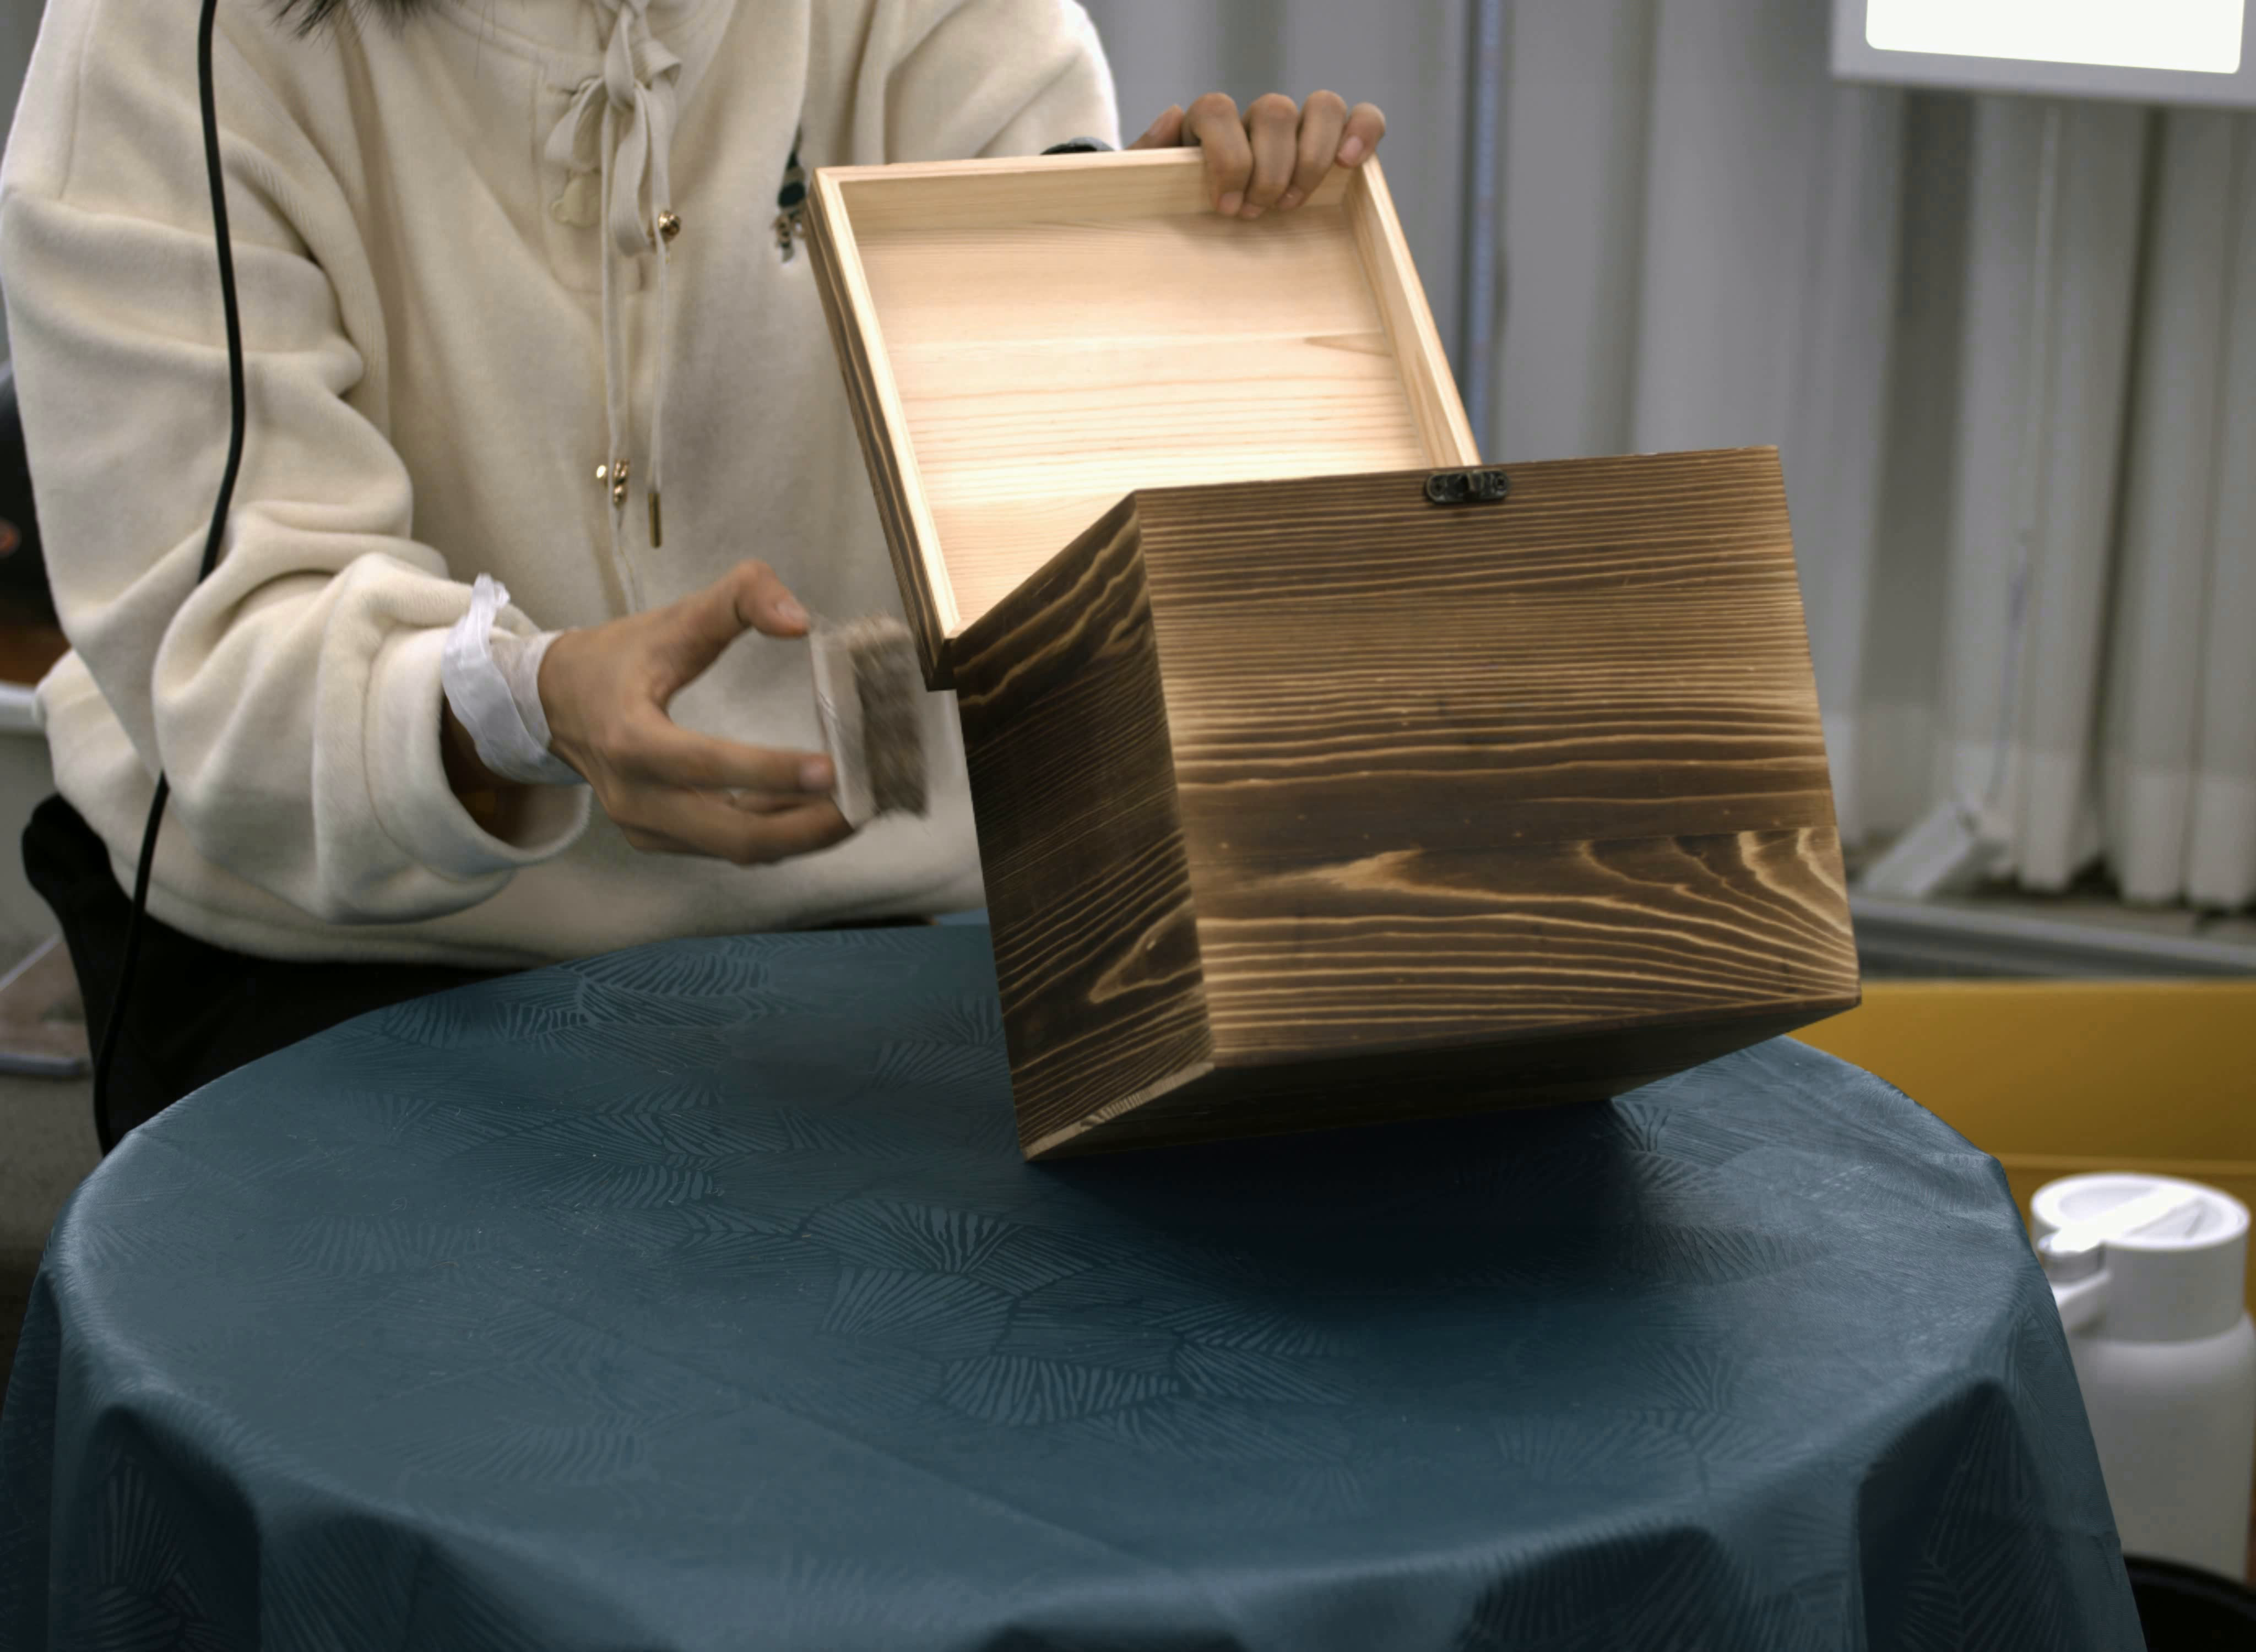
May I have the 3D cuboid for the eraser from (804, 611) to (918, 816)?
[{"bbox_3d":[-0.083,-0.037,1.643,0.029,0.057,0.139,-8,5,-3],"label":"eraser"}]

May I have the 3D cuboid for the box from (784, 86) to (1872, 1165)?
[{"bbox_3d":[0.048,-0.090,1.656,0.209,0.375,0.321,-6,-8,-19],"label":"box"}]
